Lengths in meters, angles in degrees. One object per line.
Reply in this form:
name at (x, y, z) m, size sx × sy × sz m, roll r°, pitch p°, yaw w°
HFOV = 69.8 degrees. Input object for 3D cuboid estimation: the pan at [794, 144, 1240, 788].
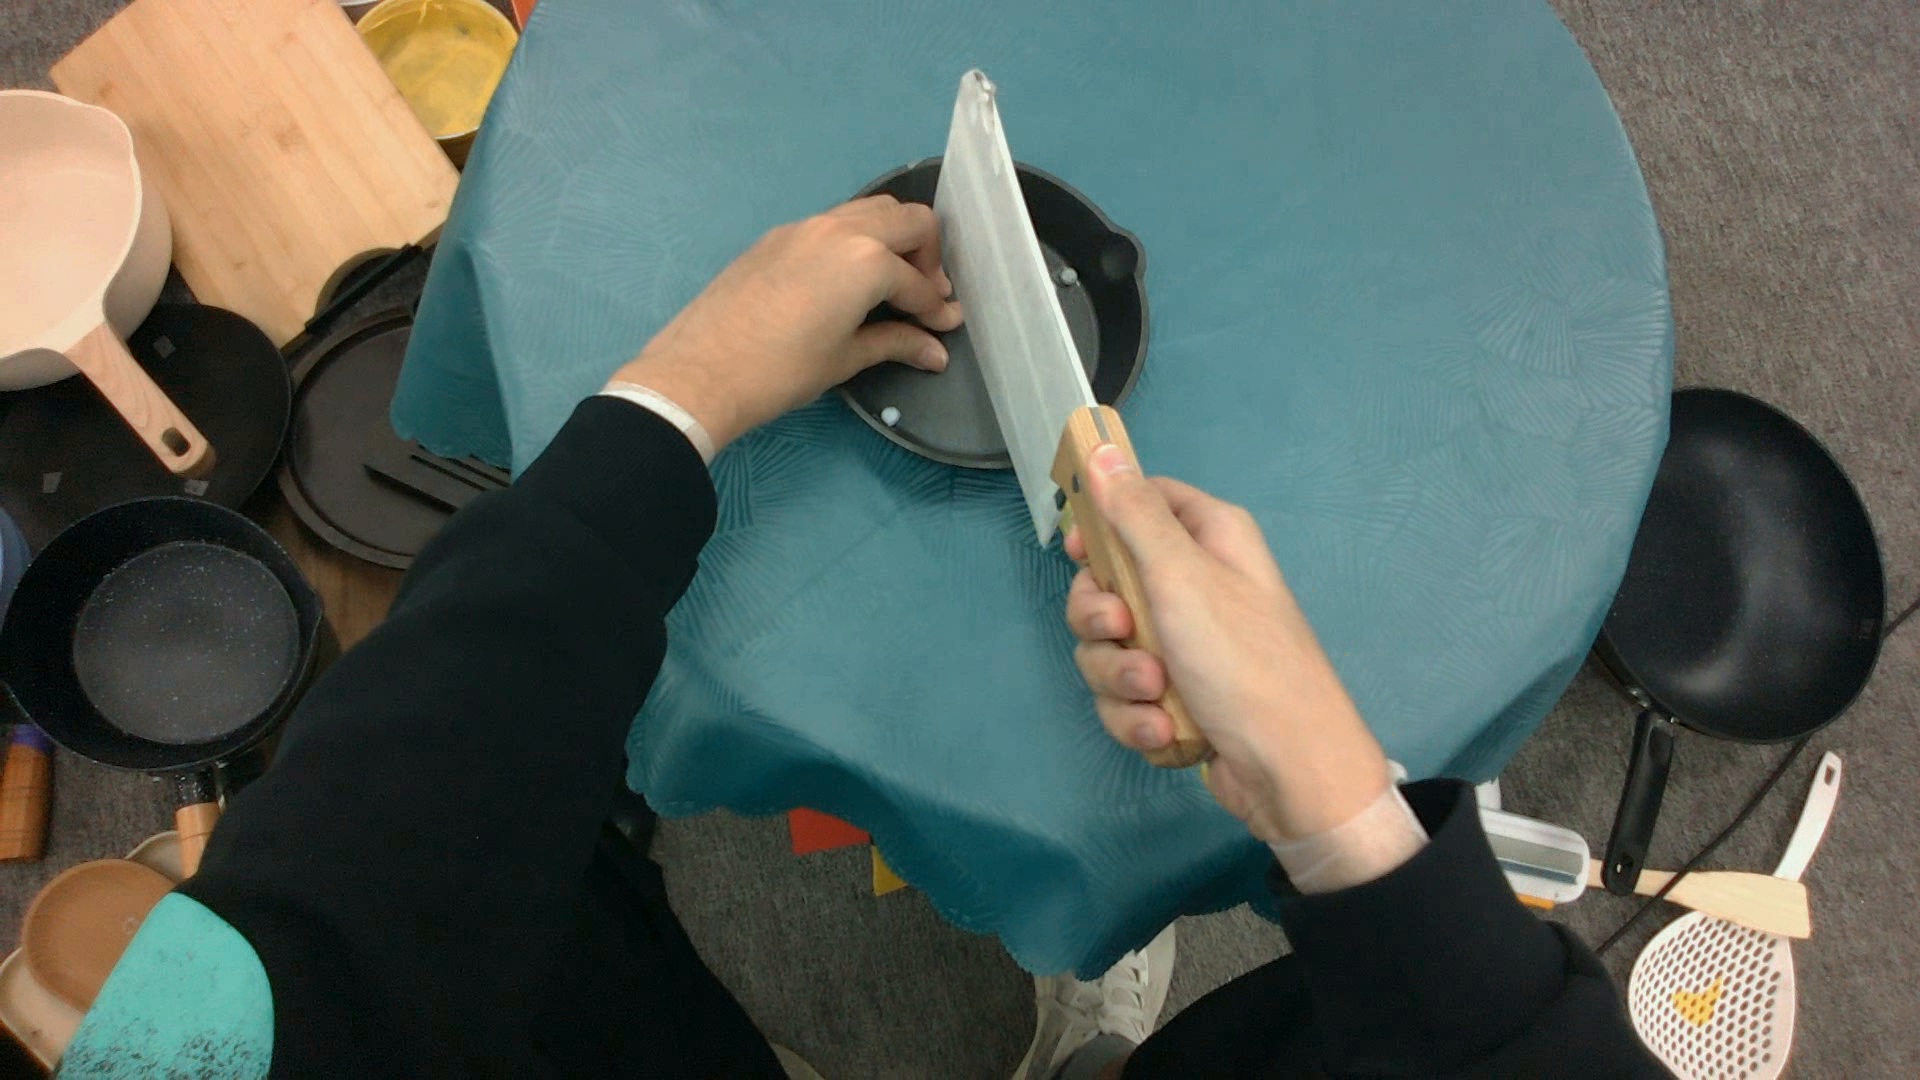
pan at (0.038, -0.035, 0.614) m, size 0.169 × 0.049 × 0.324 m, roll -22°, pitch 76°, yaw -15°

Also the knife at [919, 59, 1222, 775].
knife at (0.029, -0.055, 0.520) m, size 0.022 × 0.113 × 0.316 m, roll -8°, pitch 56°, yaw -16°
